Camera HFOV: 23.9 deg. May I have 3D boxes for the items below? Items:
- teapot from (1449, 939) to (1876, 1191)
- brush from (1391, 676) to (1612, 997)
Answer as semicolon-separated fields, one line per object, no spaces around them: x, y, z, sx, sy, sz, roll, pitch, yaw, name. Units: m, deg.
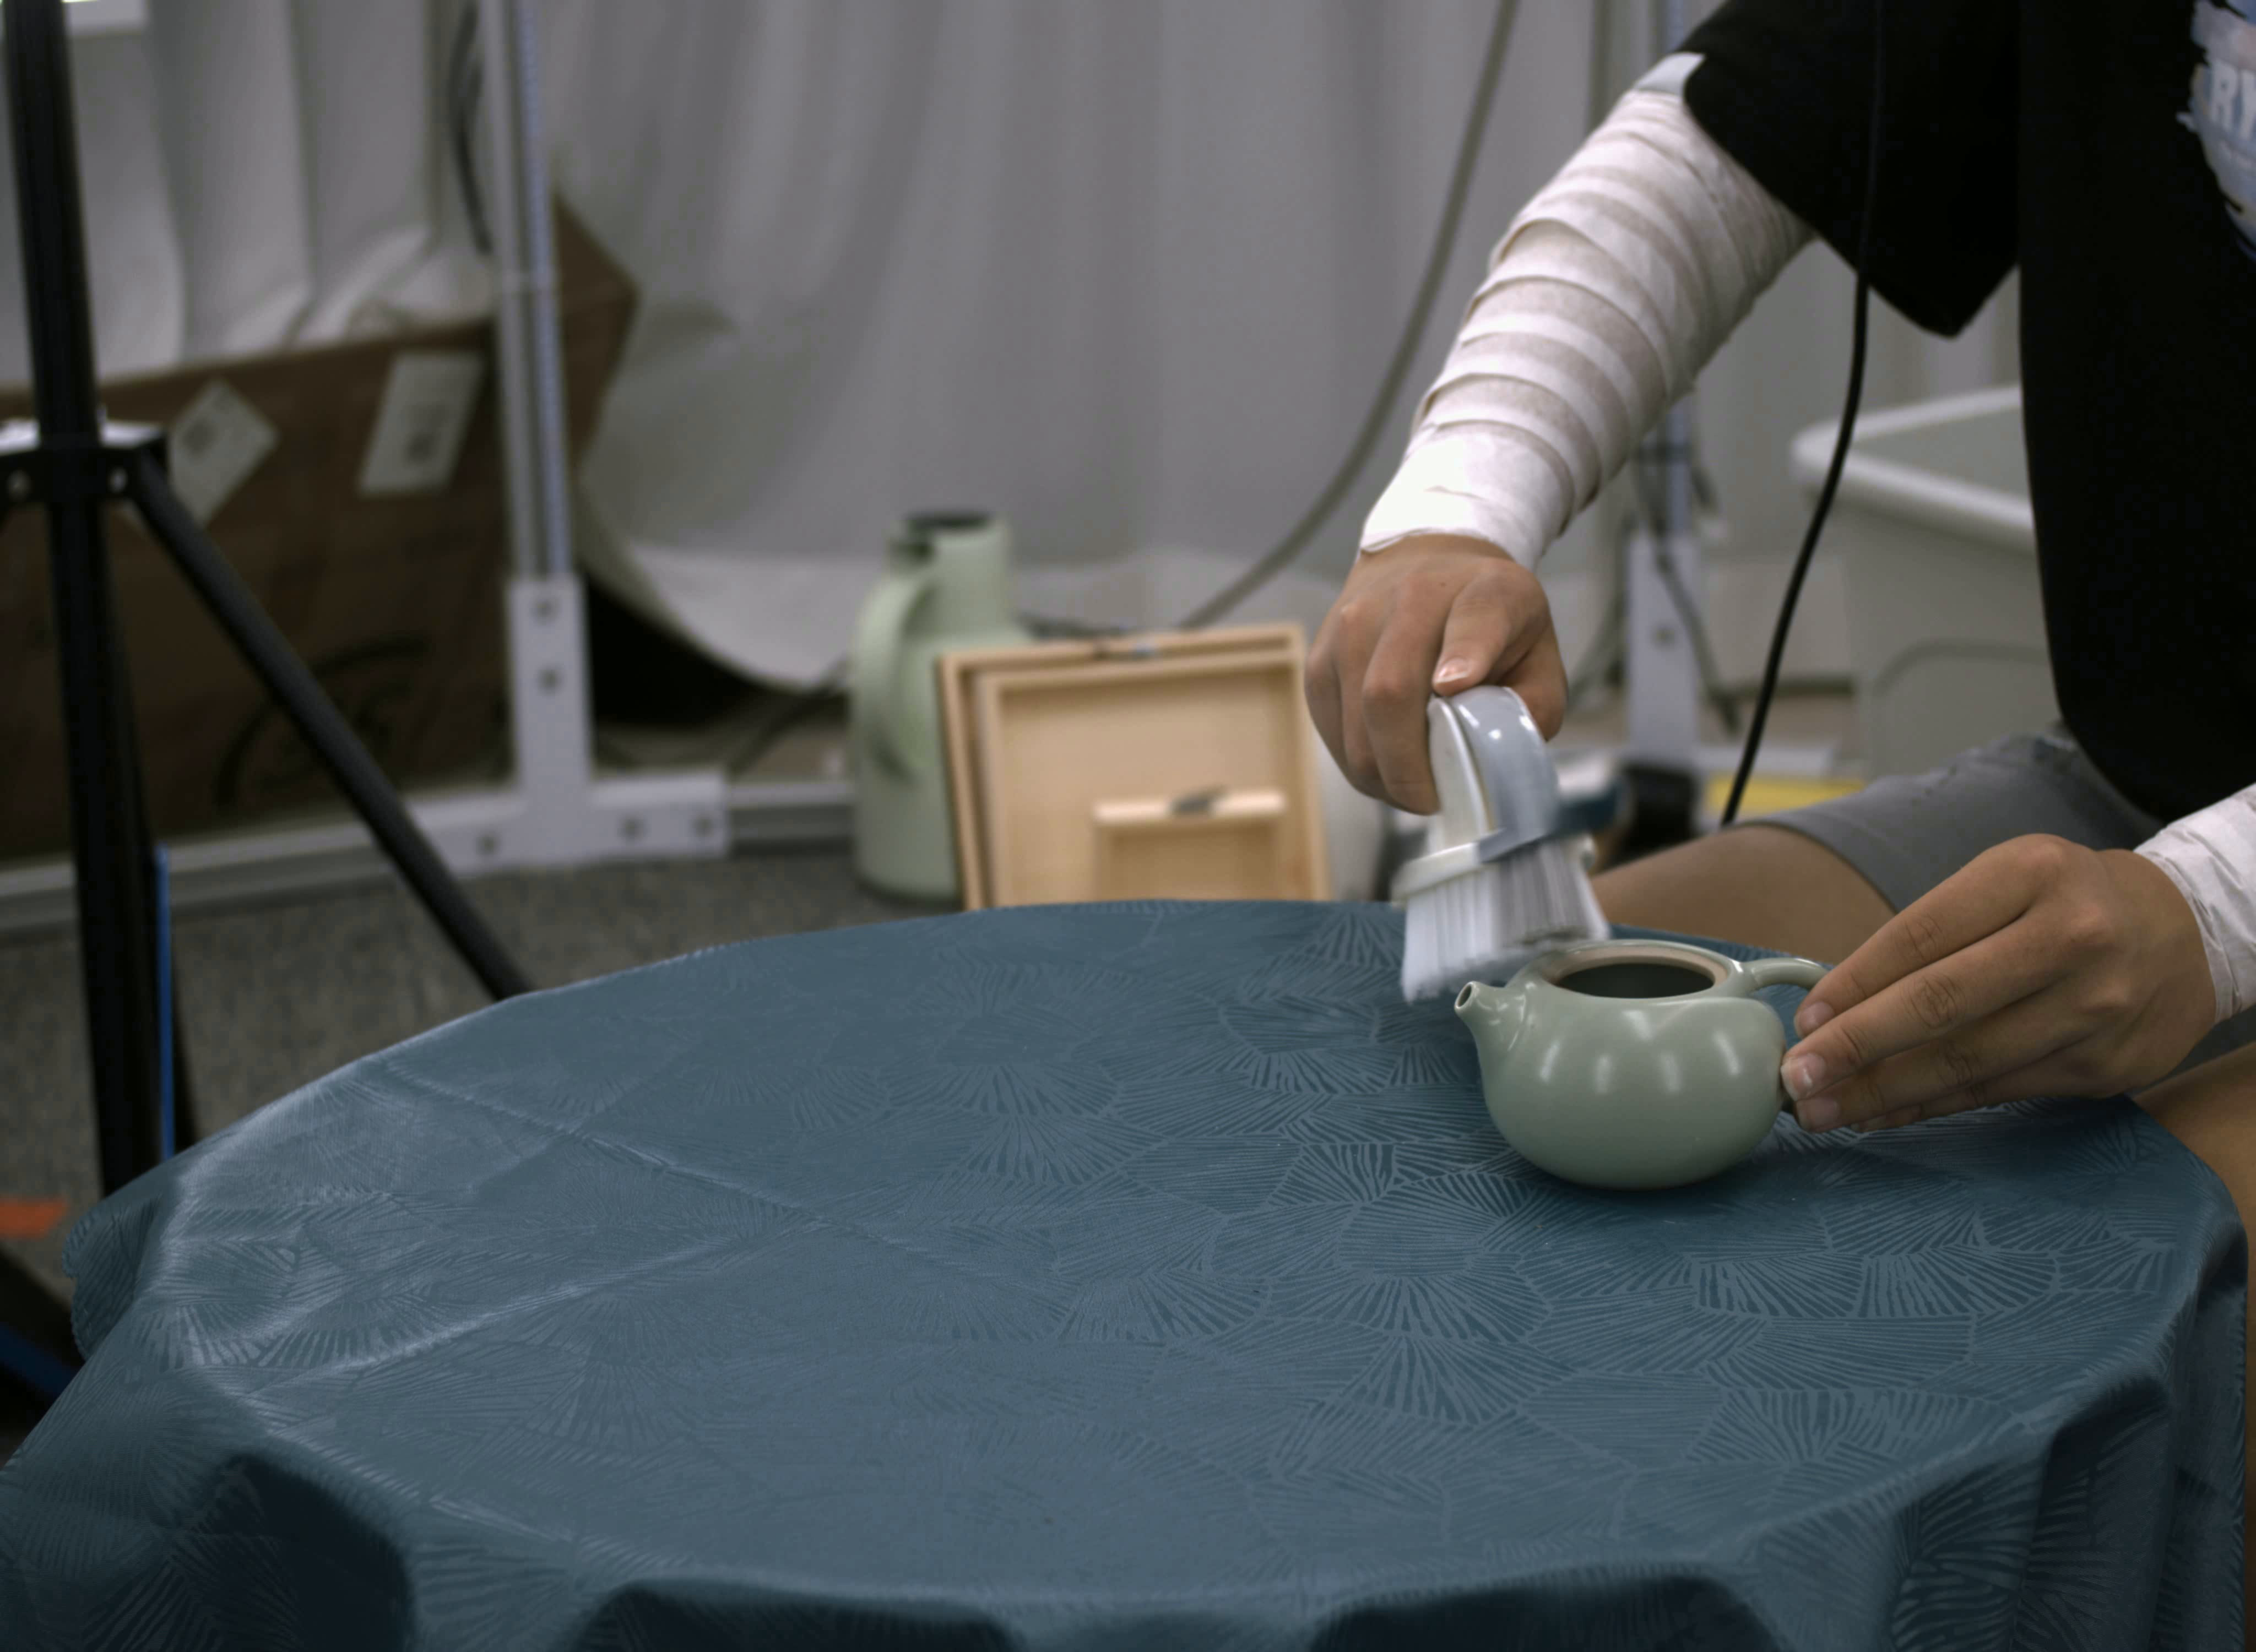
0.158;0.070;1.558;0.127;0.061;0.092;-4;14;-5;teapot
0.113;-0.001;1.623;0.061;0.095;0.175;-12;-4;-3;brush
